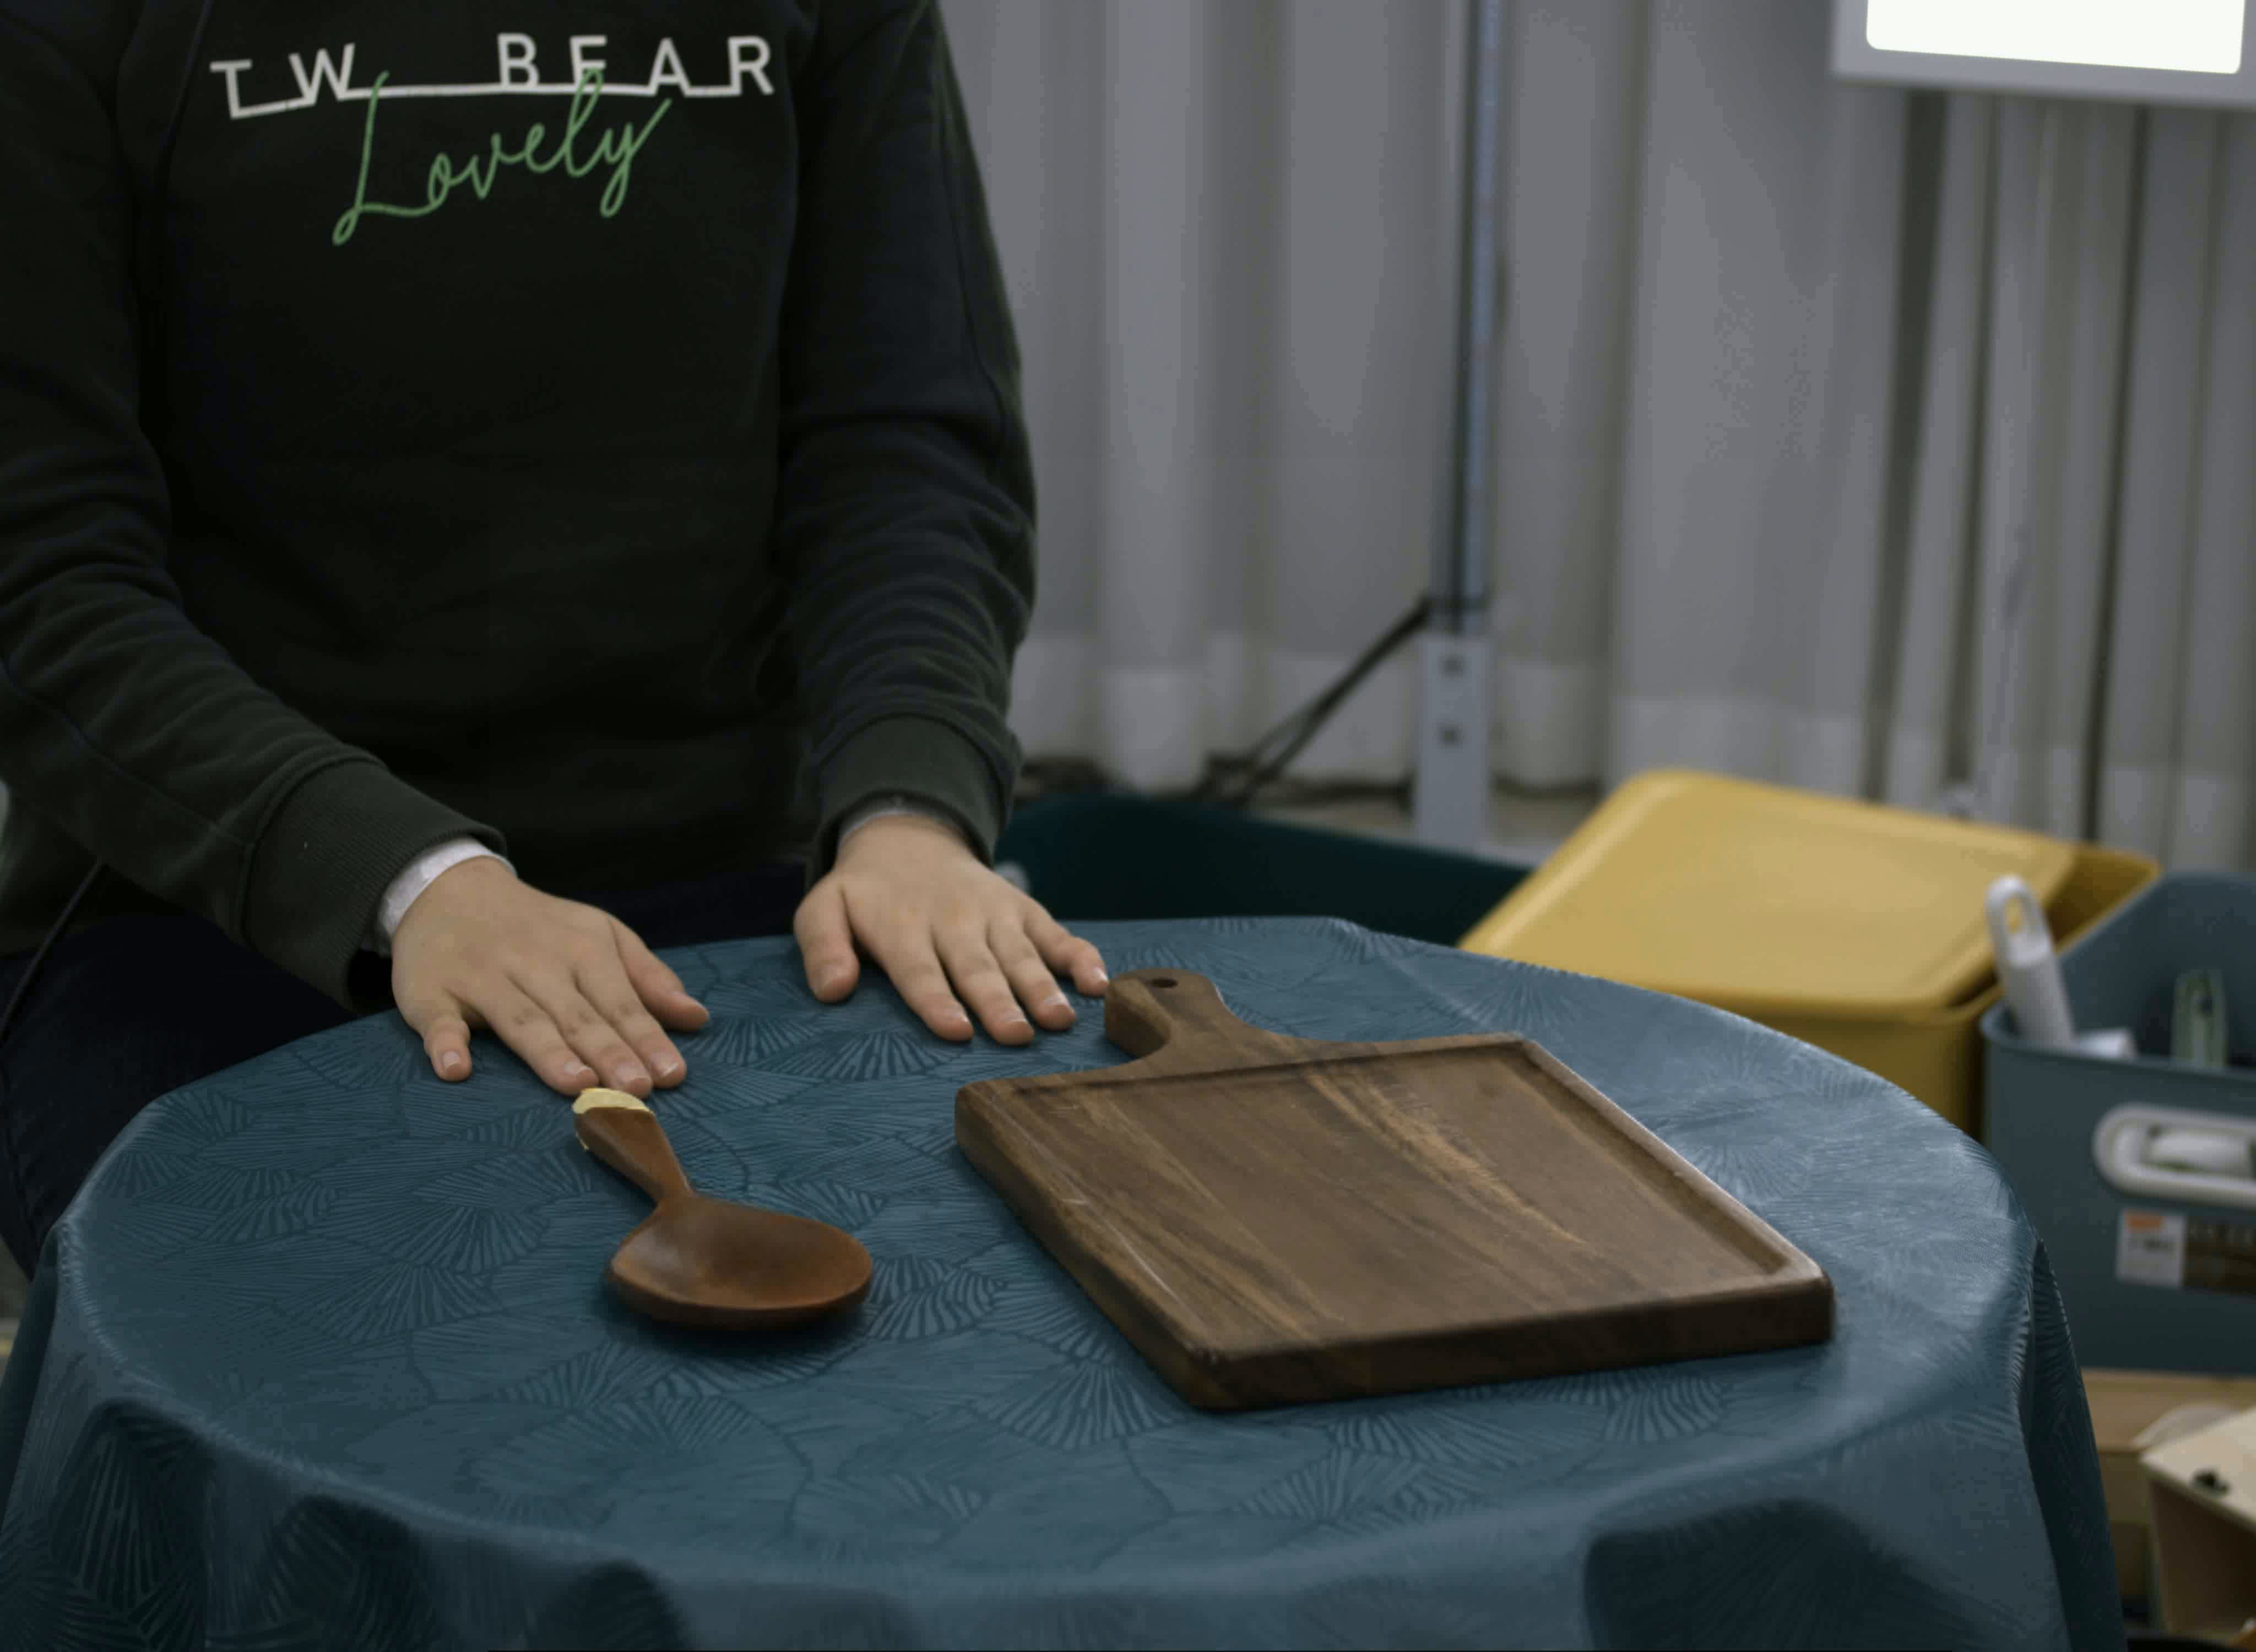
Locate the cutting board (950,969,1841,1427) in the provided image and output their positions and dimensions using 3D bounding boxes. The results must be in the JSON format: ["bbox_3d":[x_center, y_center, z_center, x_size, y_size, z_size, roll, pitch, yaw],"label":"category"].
[{"bbox_3d":[0.059,0.103,1.630,0.201,0.023,0.348,-5,17,-18],"label":"cutting board"}]

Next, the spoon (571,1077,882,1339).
[{"bbox_3d":[-0.131,0.115,1.580,0.075,0.017,0.213,-7,18,-19],"label":"spoon"}]
